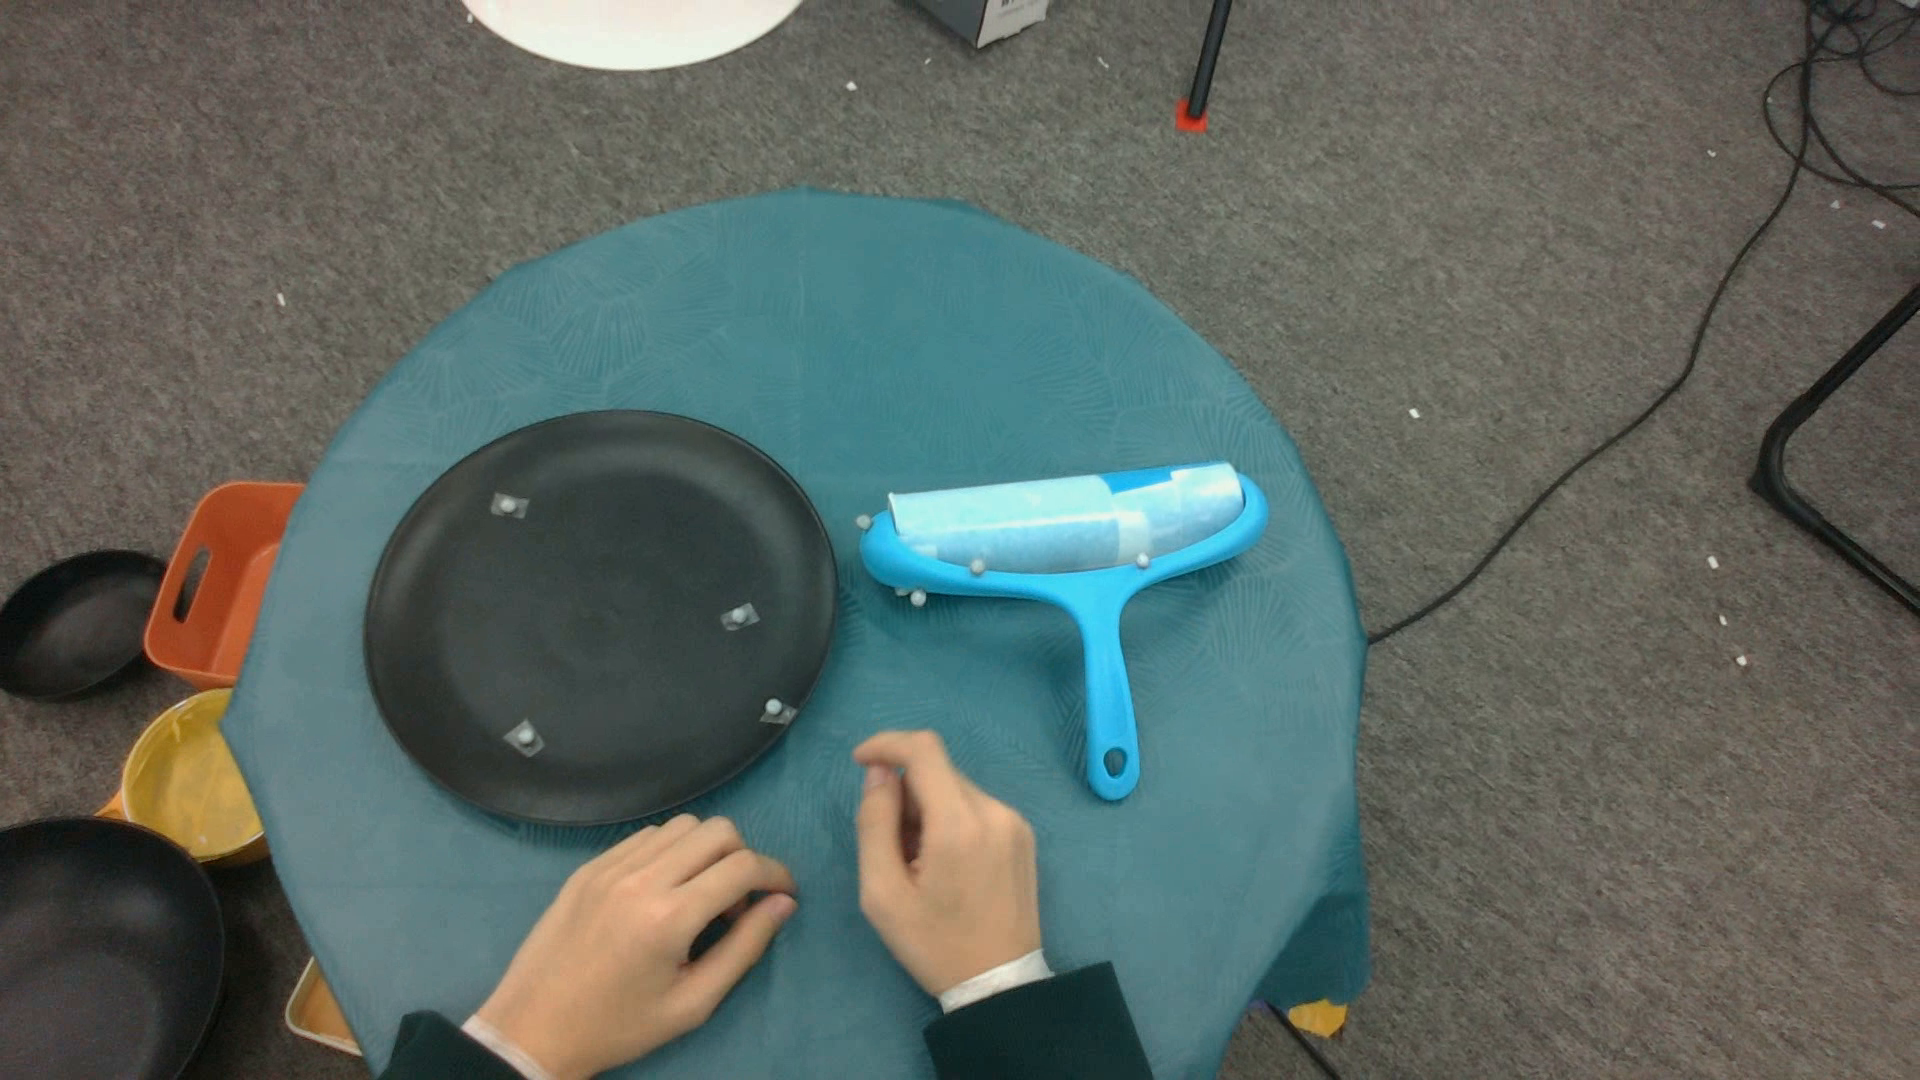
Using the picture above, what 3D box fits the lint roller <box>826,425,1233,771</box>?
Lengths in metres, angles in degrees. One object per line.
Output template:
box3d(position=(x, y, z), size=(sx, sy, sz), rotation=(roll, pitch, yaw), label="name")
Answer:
box3d(position=(0.055, 0.028, 0.737), size=(0.229, 0.067, 0.181), rotation=(-11, 64, -11), label="lint roller")

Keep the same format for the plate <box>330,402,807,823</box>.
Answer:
box3d(position=(-0.203, 0.034, 0.730), size=(0.244, 0.023, 0.245), rotation=(2, 61, -4), label="plate")
